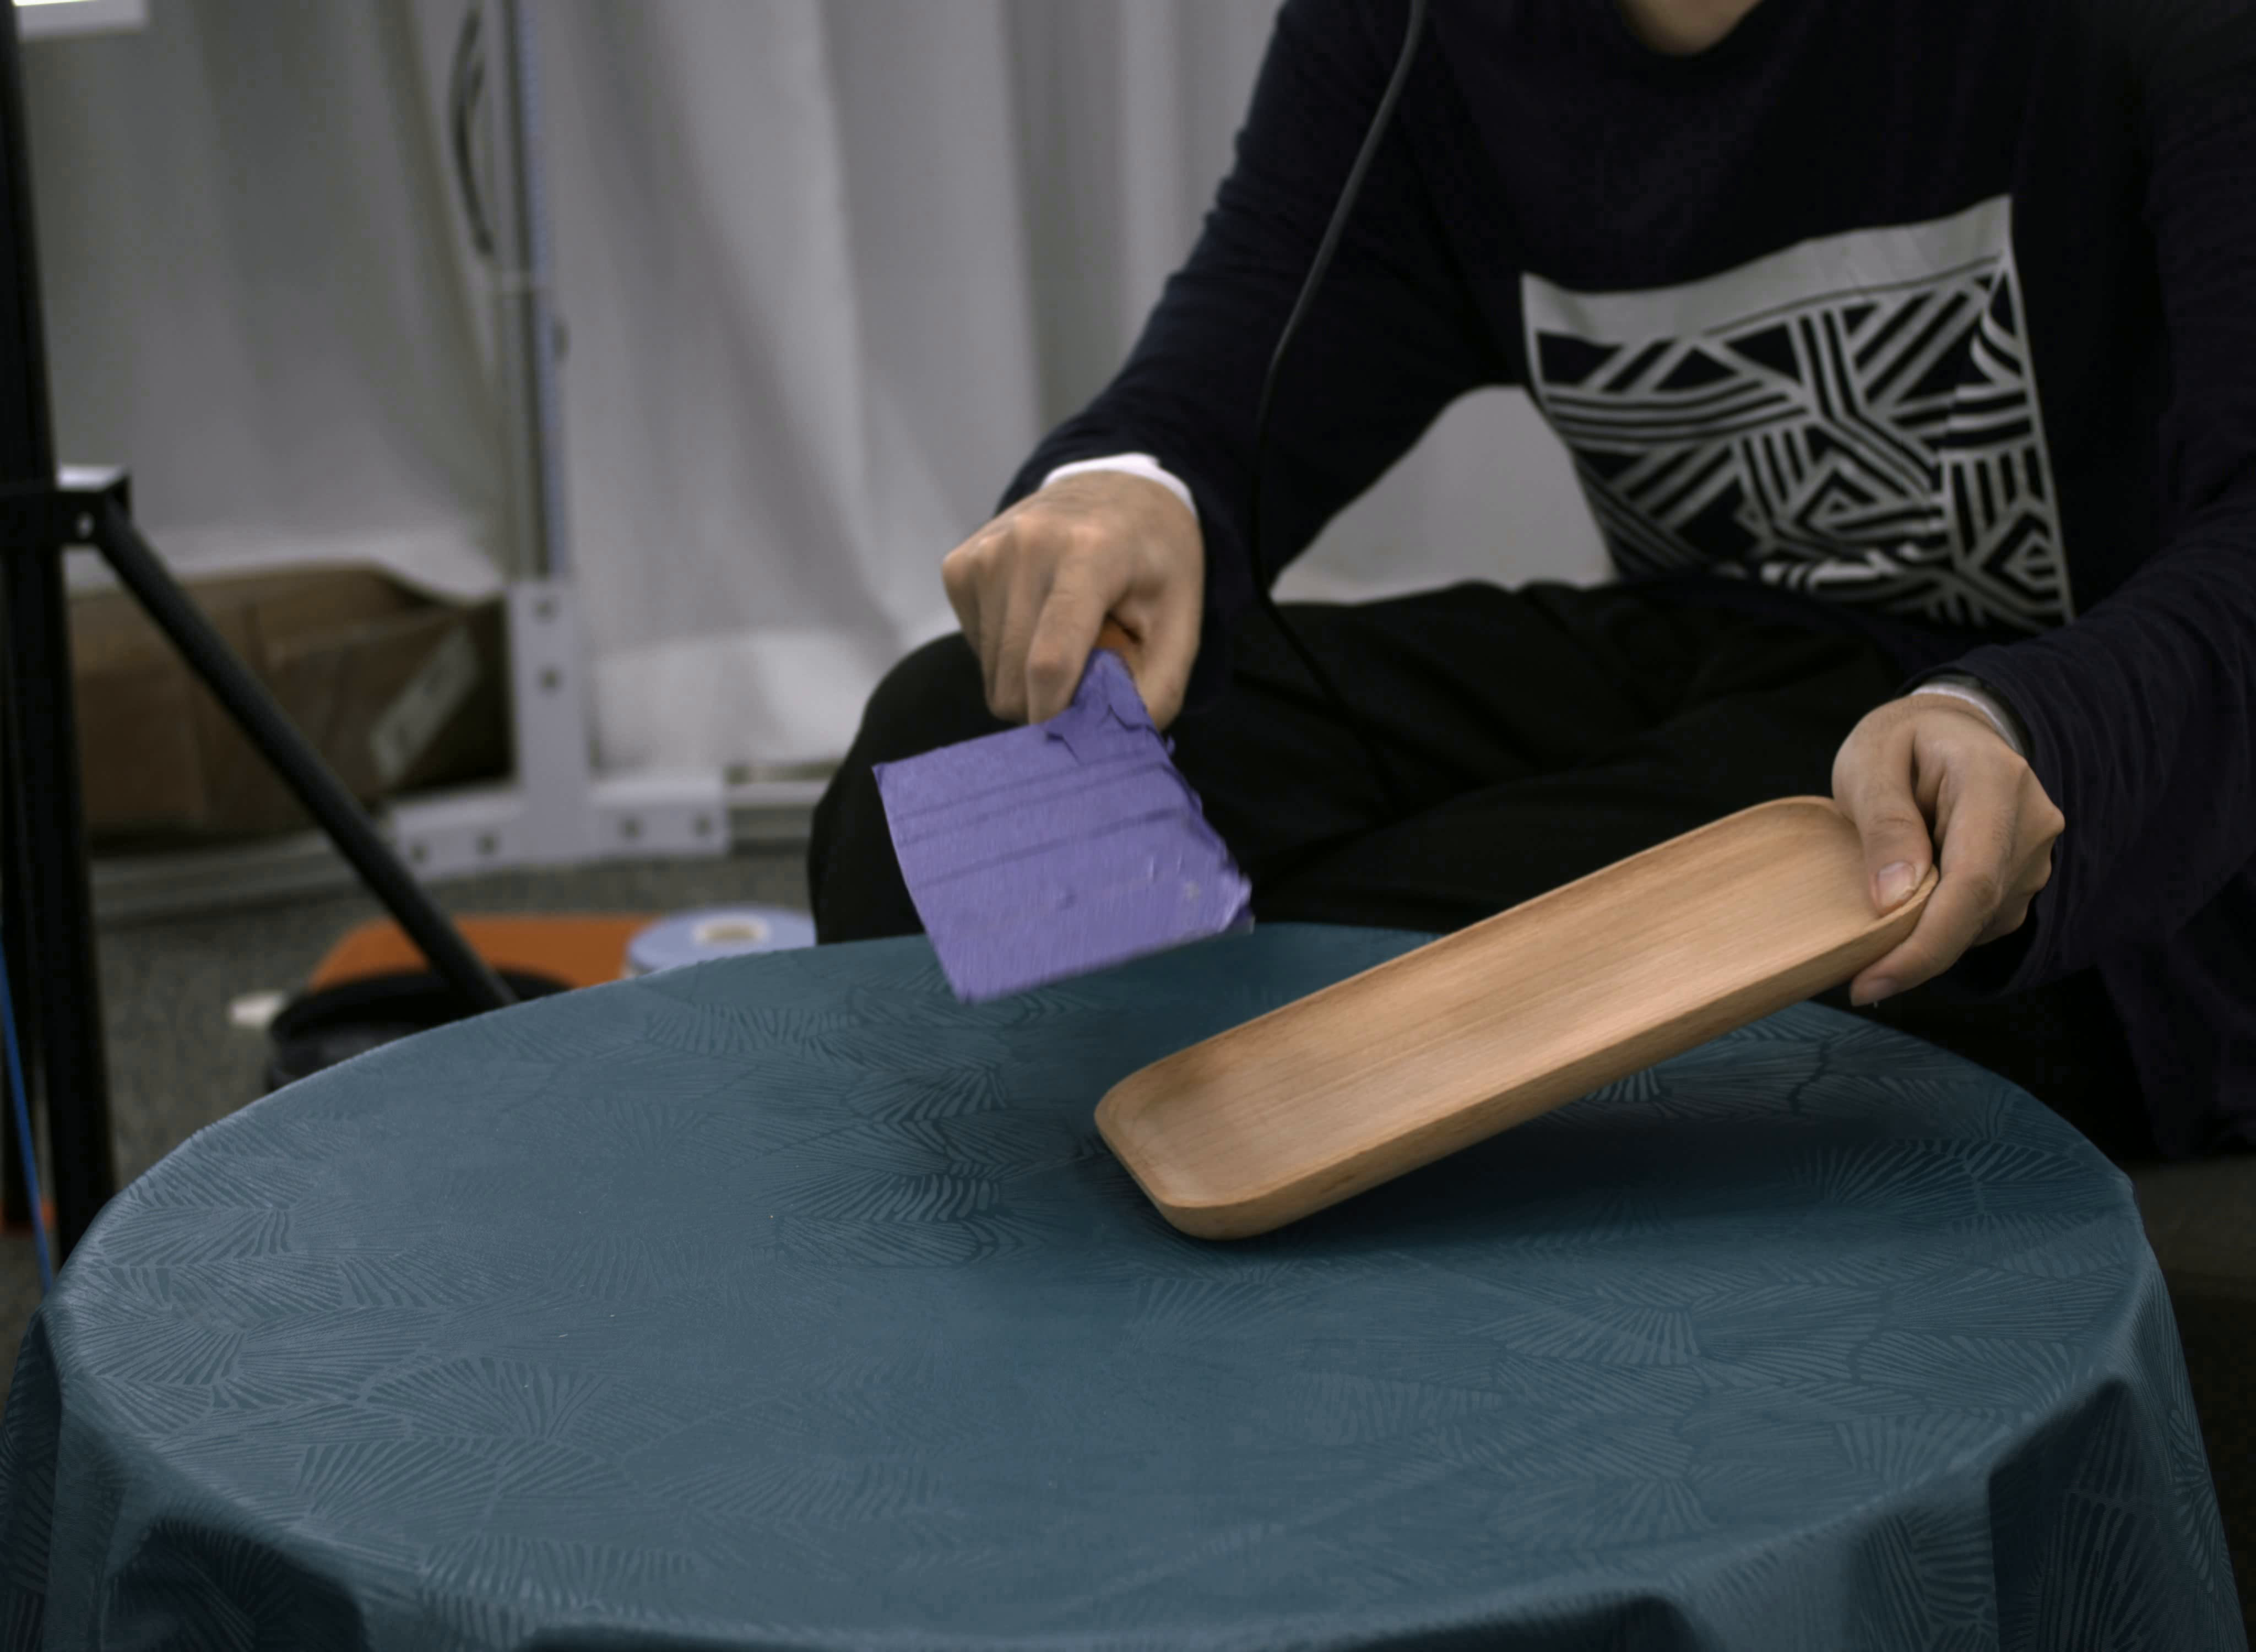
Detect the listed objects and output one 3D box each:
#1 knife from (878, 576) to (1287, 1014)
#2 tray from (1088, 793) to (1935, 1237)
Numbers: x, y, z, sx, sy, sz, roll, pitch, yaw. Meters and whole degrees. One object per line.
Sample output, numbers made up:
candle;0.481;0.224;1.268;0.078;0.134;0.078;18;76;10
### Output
knife;-0.029;-0.014;1.655;0.103;0.032;0.319;-14;20;-4
tray;0.113;0.056;1.573;0.249;0.023;0.132;-23;17;-3
